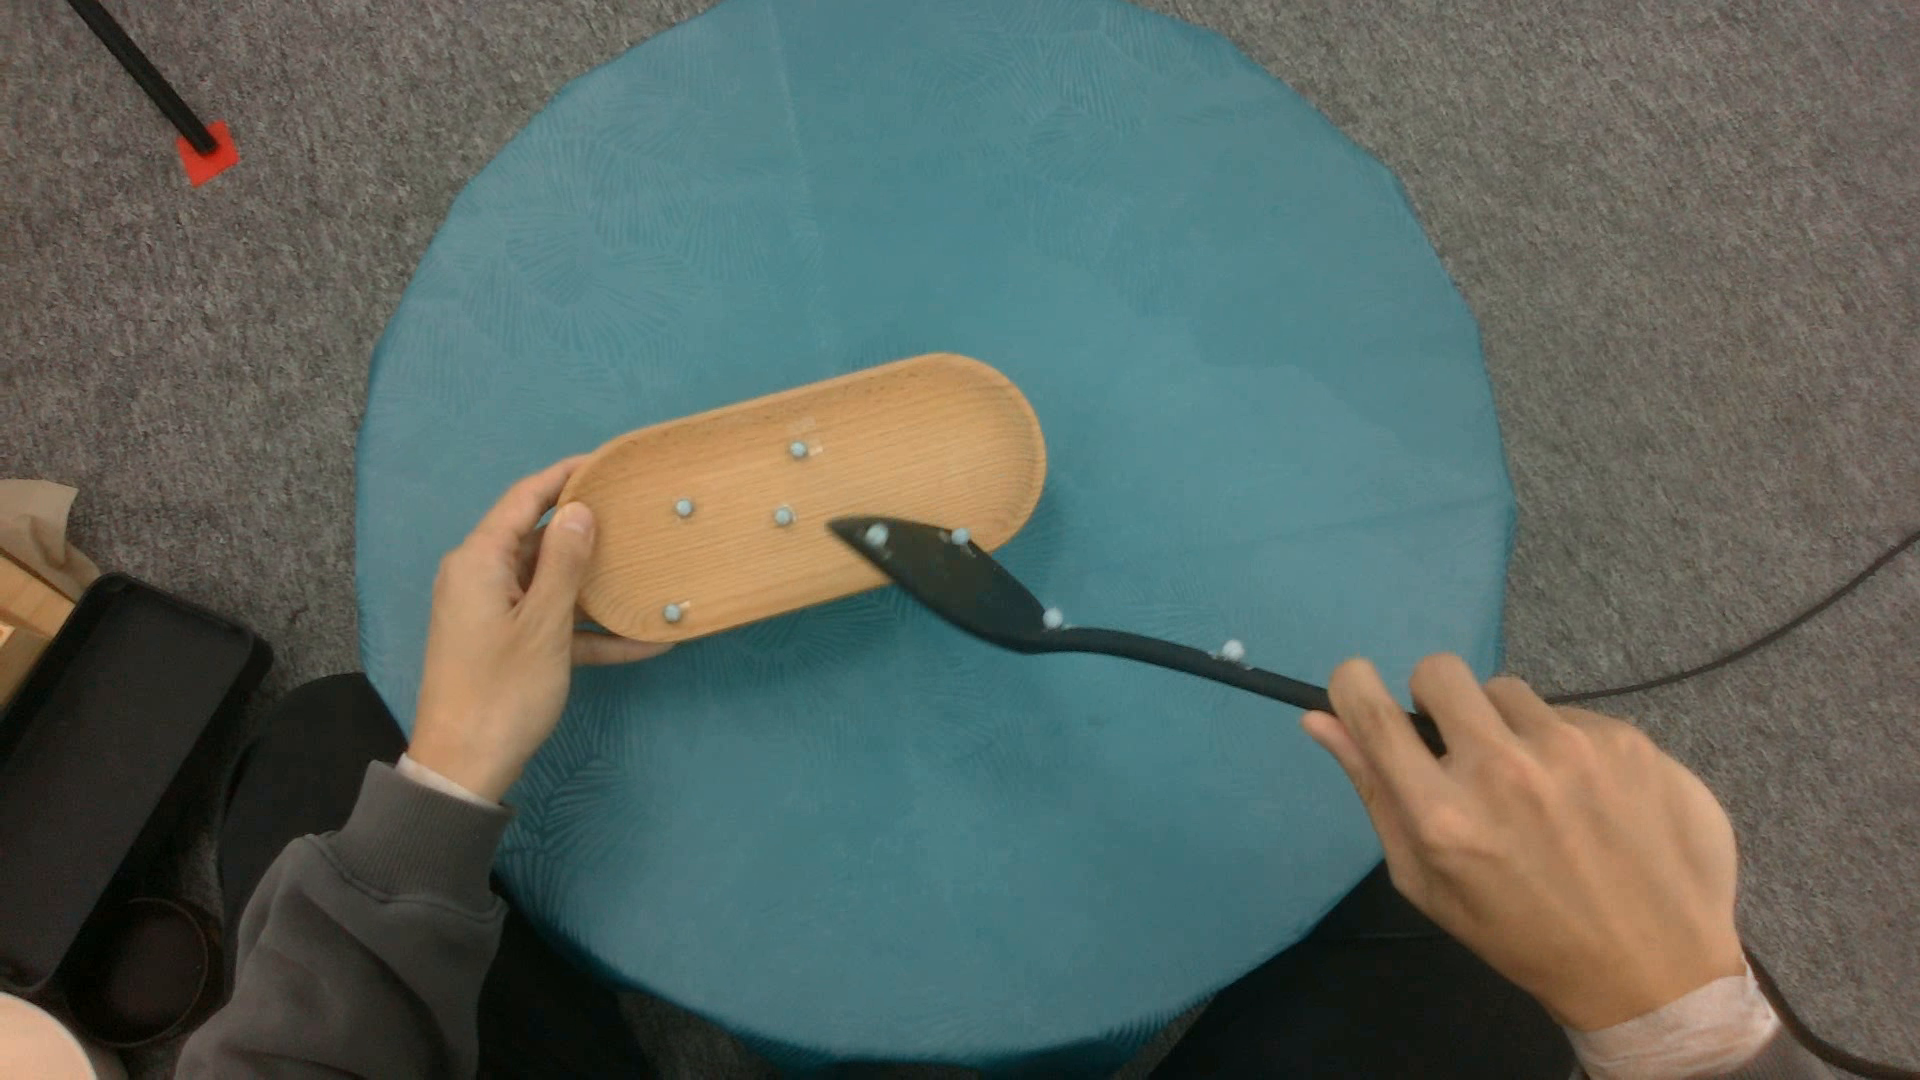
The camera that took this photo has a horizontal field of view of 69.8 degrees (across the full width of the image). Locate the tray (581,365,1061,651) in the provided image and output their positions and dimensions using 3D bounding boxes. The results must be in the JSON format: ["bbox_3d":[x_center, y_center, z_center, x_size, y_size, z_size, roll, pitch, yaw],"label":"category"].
[{"bbox_3d":[-0.065,-0.016,0.657,0.231,0.020,0.102,-16,81,-7],"label":"tray"}]

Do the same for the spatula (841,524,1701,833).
[{"bbox_3d":[0.106,0.047,0.526,0.326,0.100,0.040,14,97,26],"label":"spatula"}]
